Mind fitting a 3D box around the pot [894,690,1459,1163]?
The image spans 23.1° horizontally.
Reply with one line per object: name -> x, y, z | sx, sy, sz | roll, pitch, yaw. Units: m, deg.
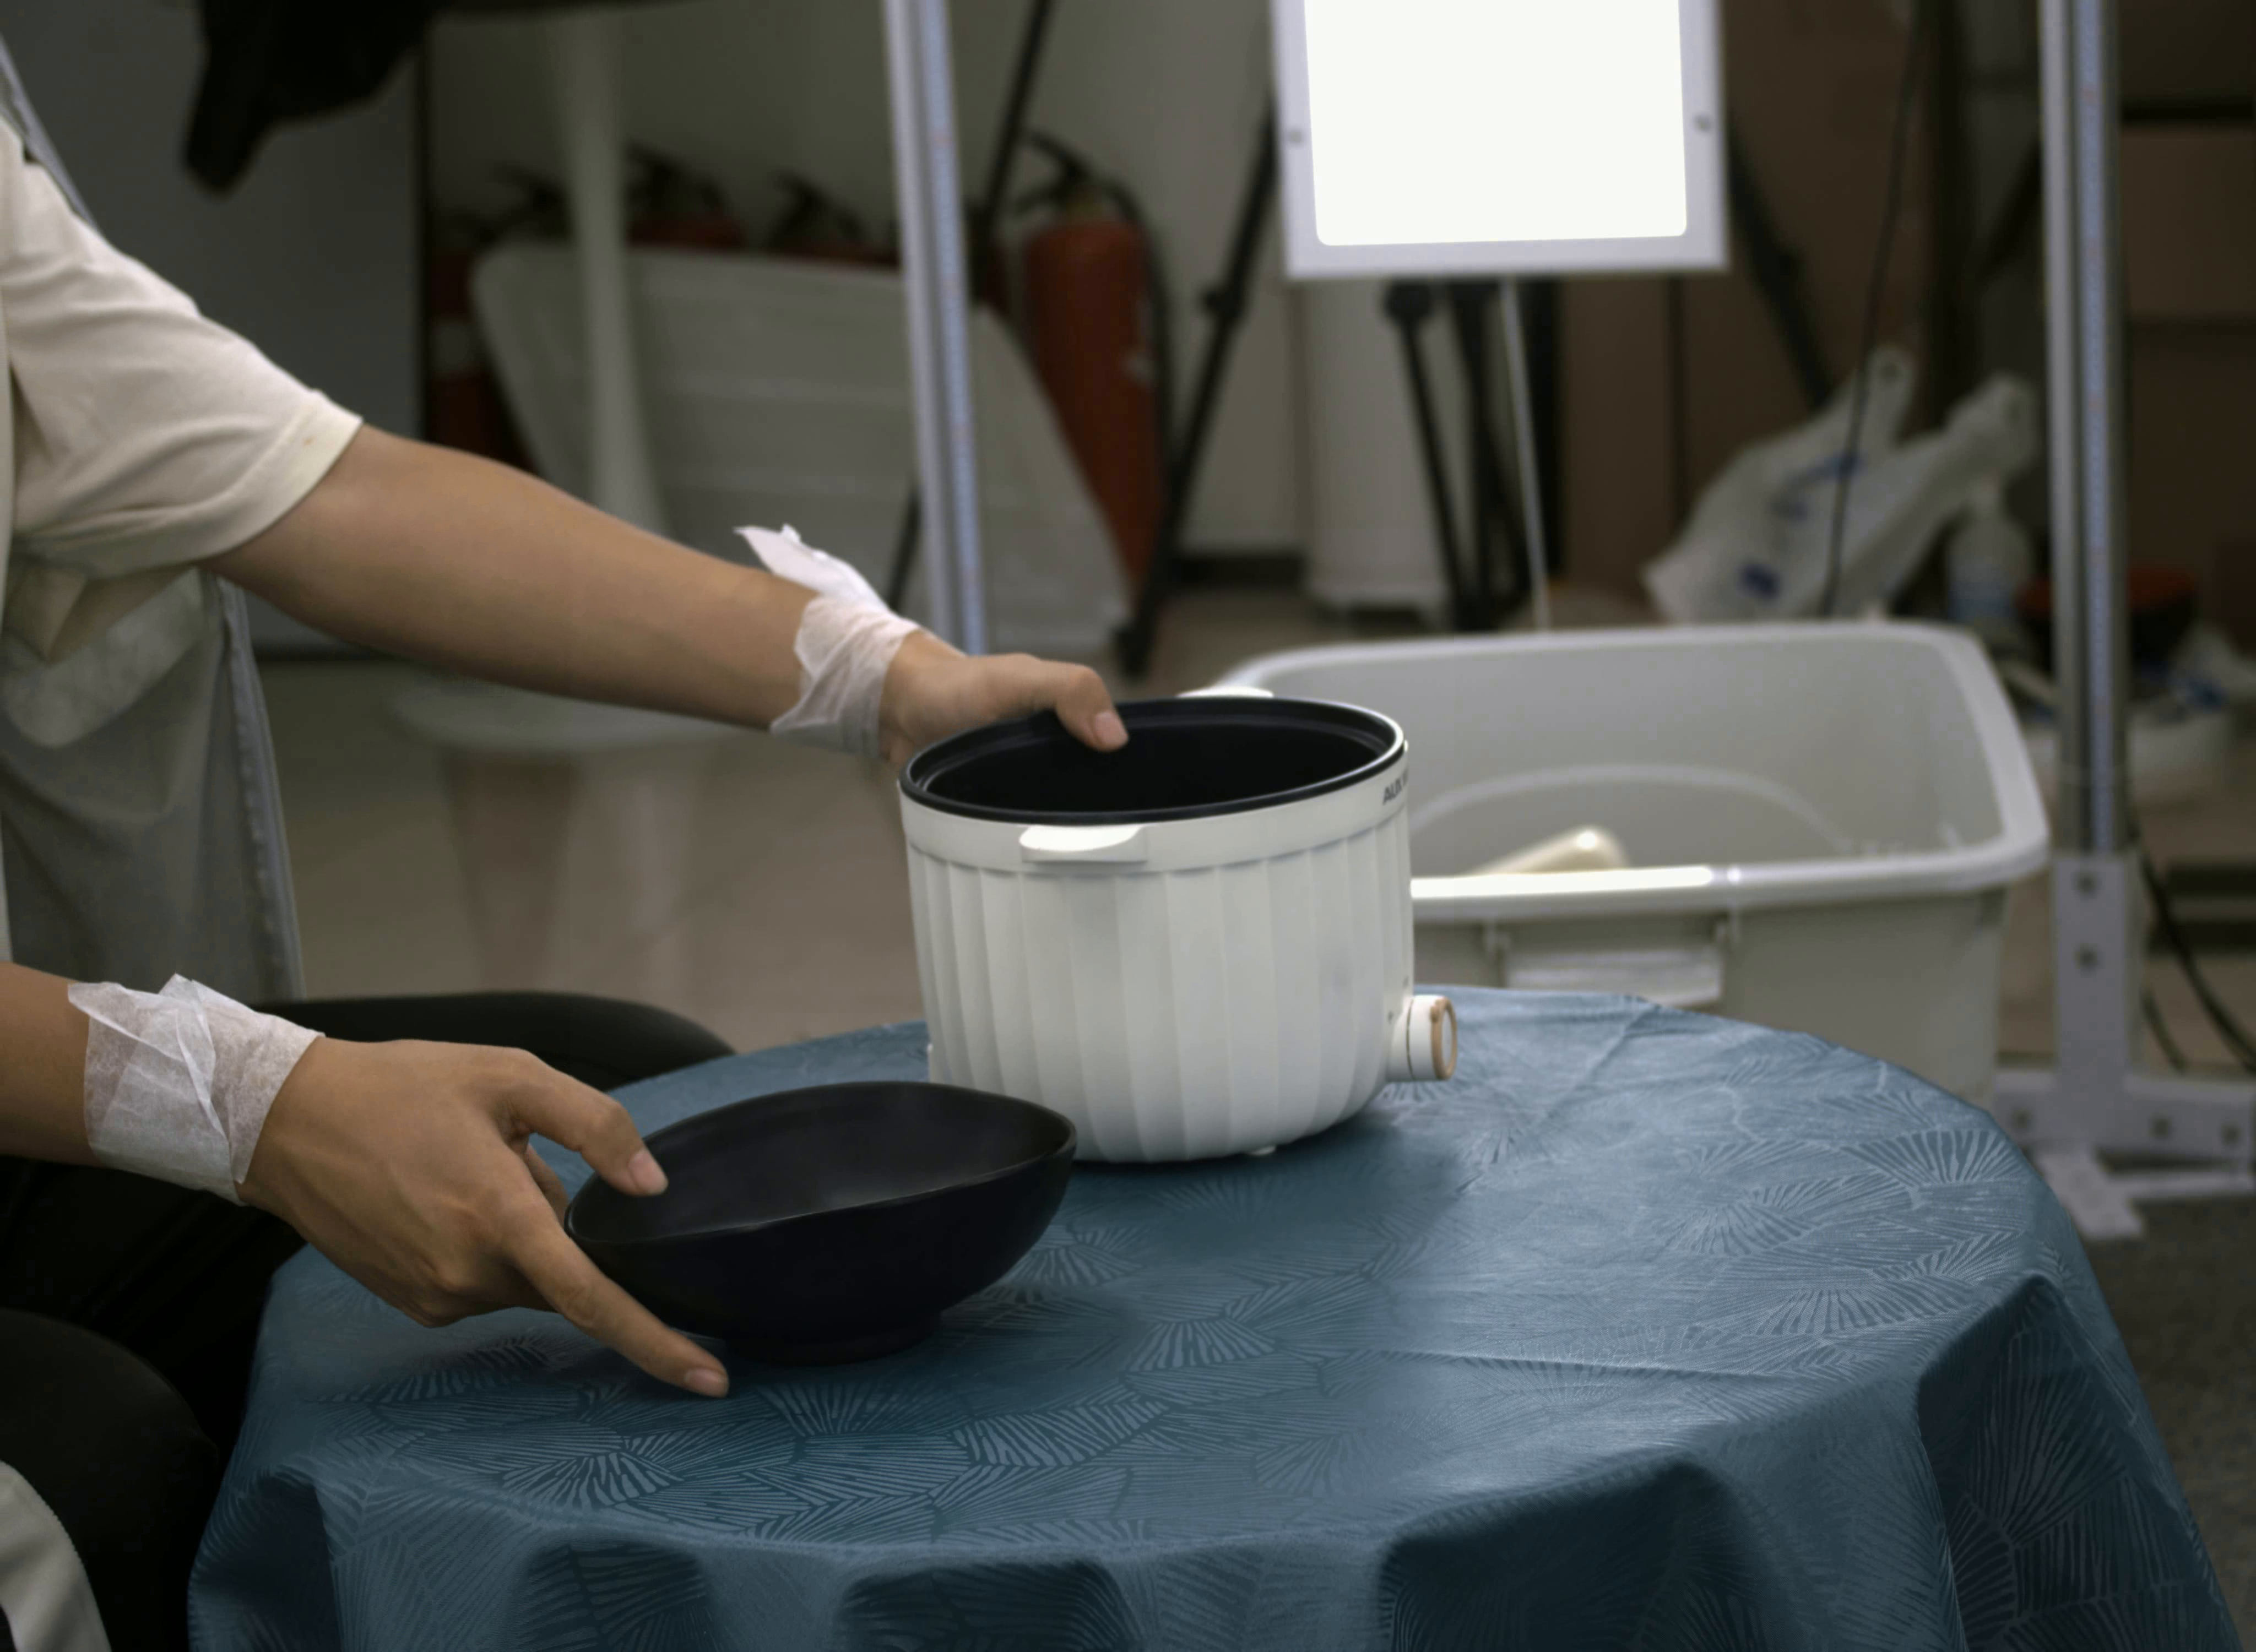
pot -> 0.019, 0.038, 1.963 | 0.192, 0.143, 0.237 | -4, 14, 17

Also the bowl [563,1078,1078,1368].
bowl -> -0.095, 0.133, 1.771 | 0.167, 0.067, 0.139 | -11, 14, -19
